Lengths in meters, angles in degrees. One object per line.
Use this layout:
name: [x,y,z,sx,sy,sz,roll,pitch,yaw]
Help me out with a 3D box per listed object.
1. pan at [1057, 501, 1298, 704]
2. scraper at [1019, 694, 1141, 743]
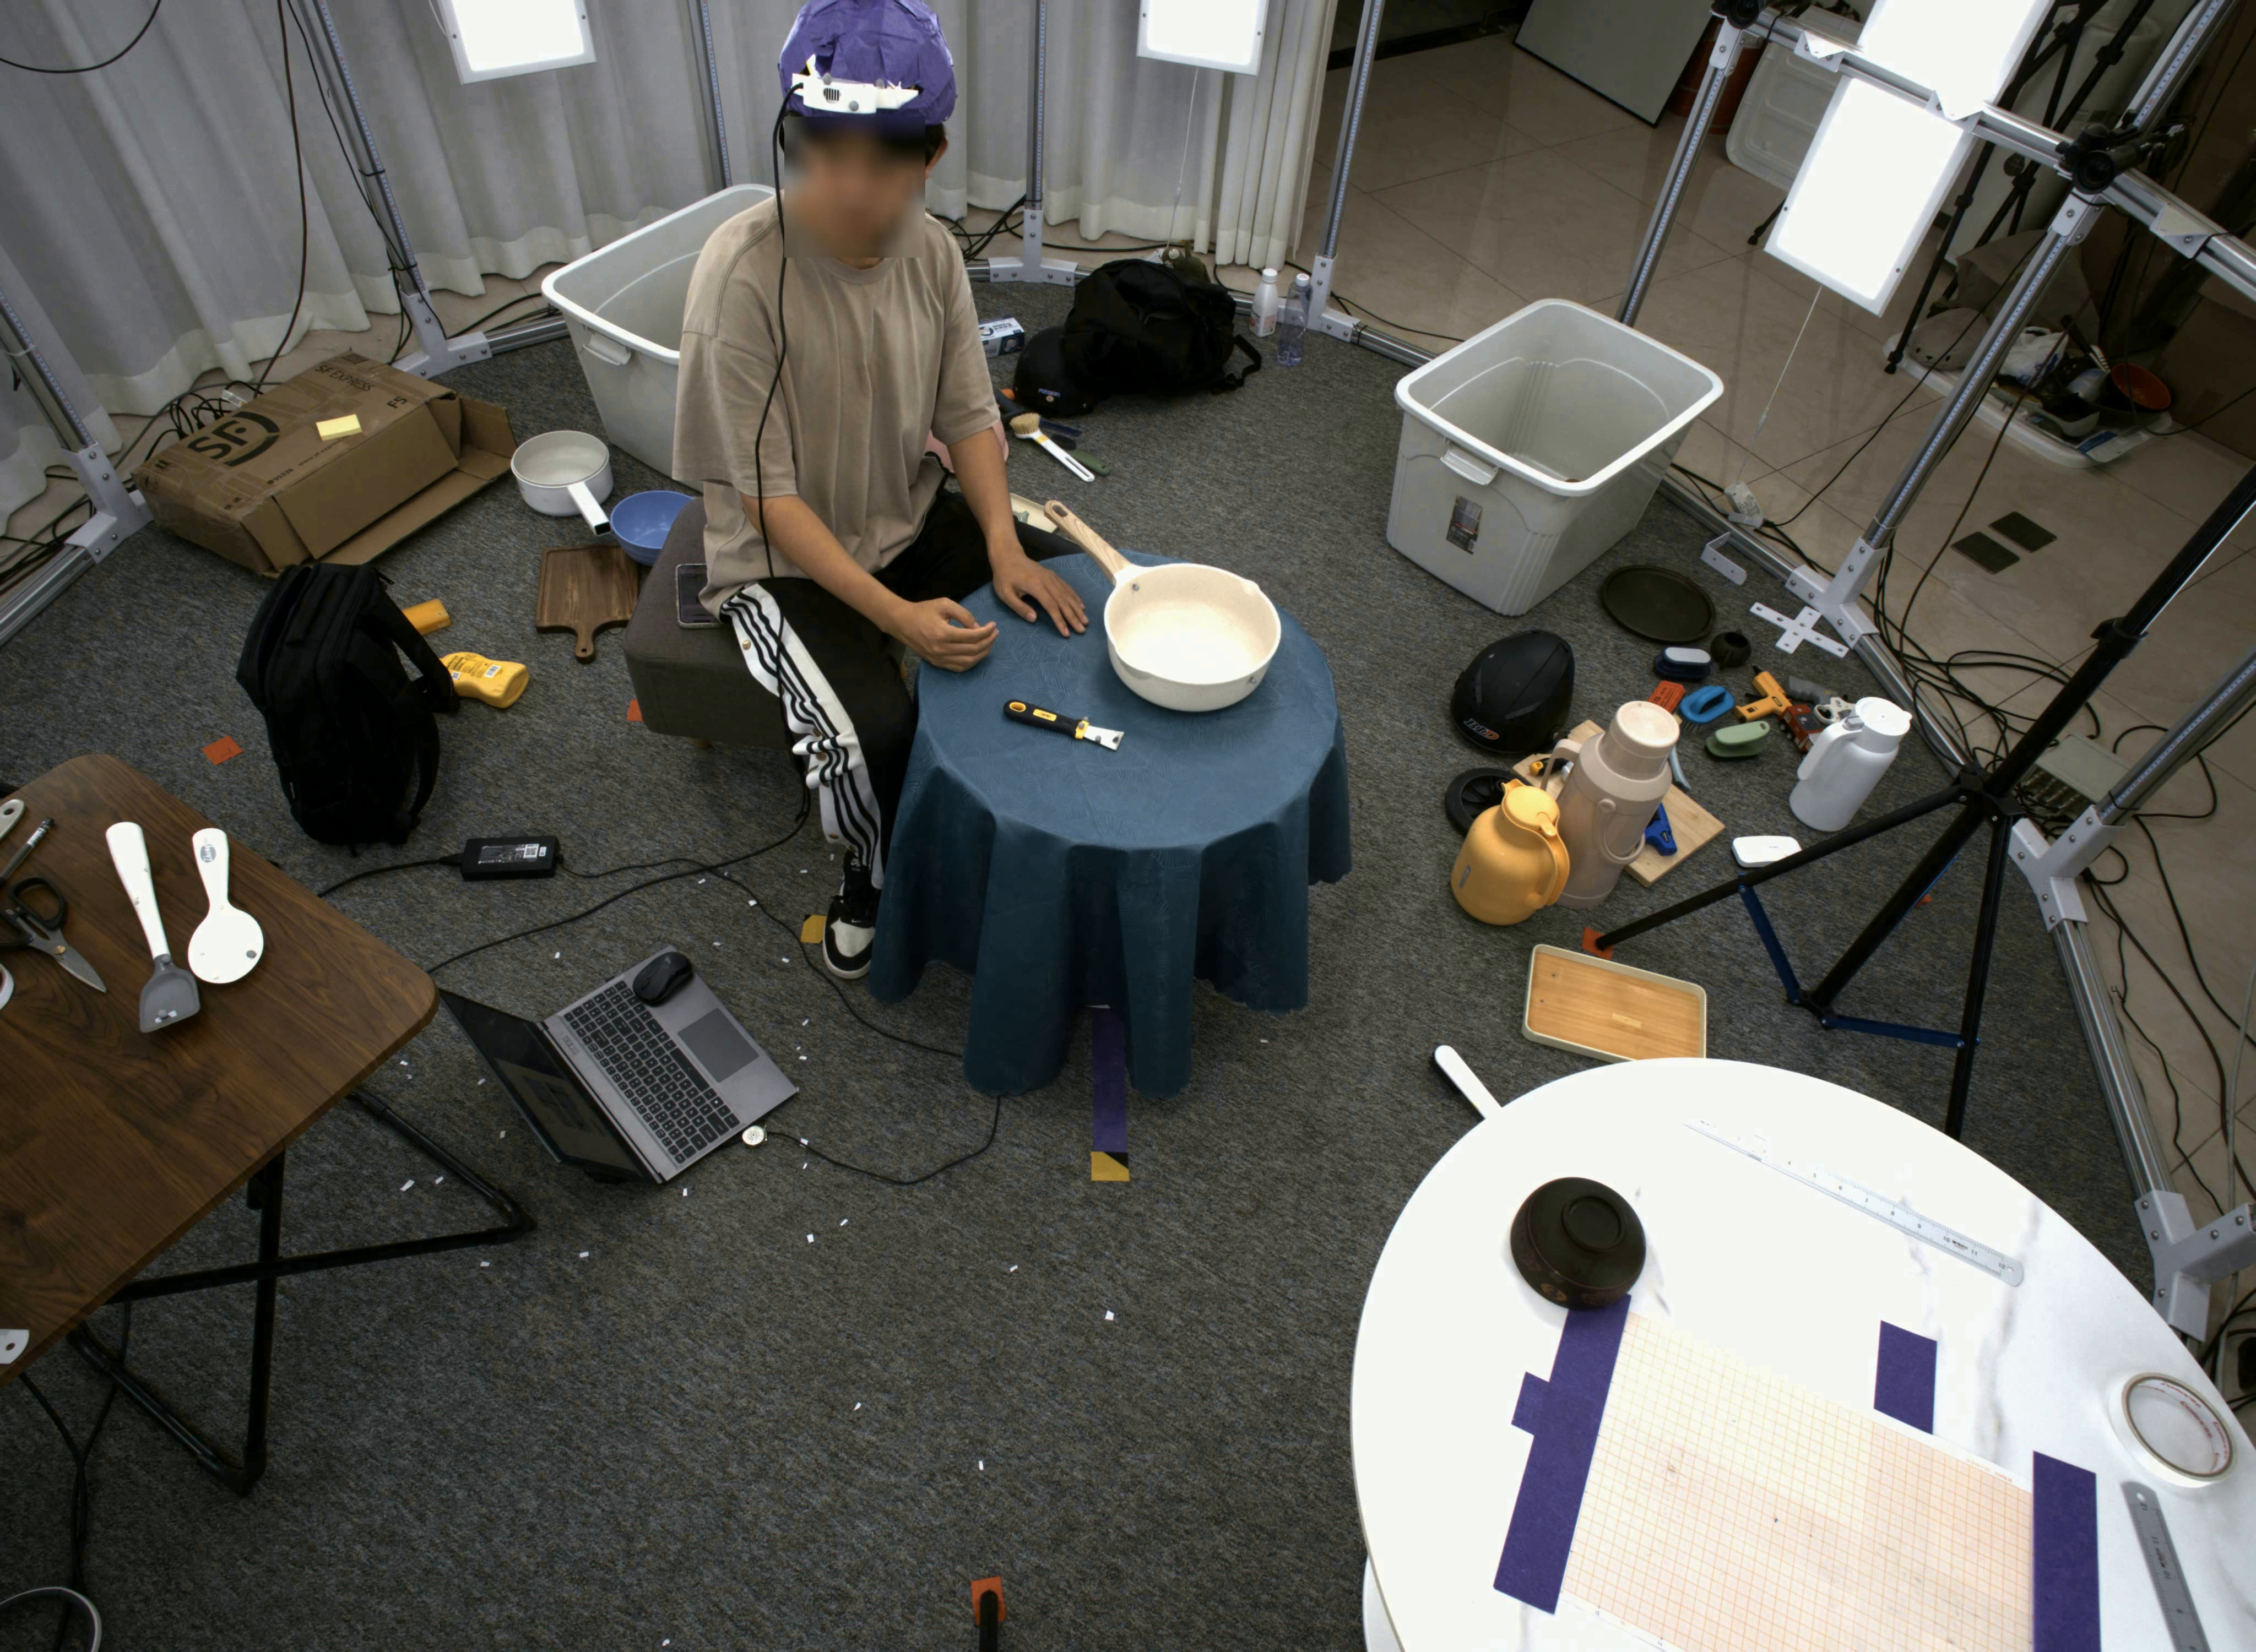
pan: [0.051,-0.334,1.890,0.265,0.099,0.441,-35,60,-28]
scraper: [-0.068,-0.149,1.765,0.171,0.014,0.039,16,53,6]
